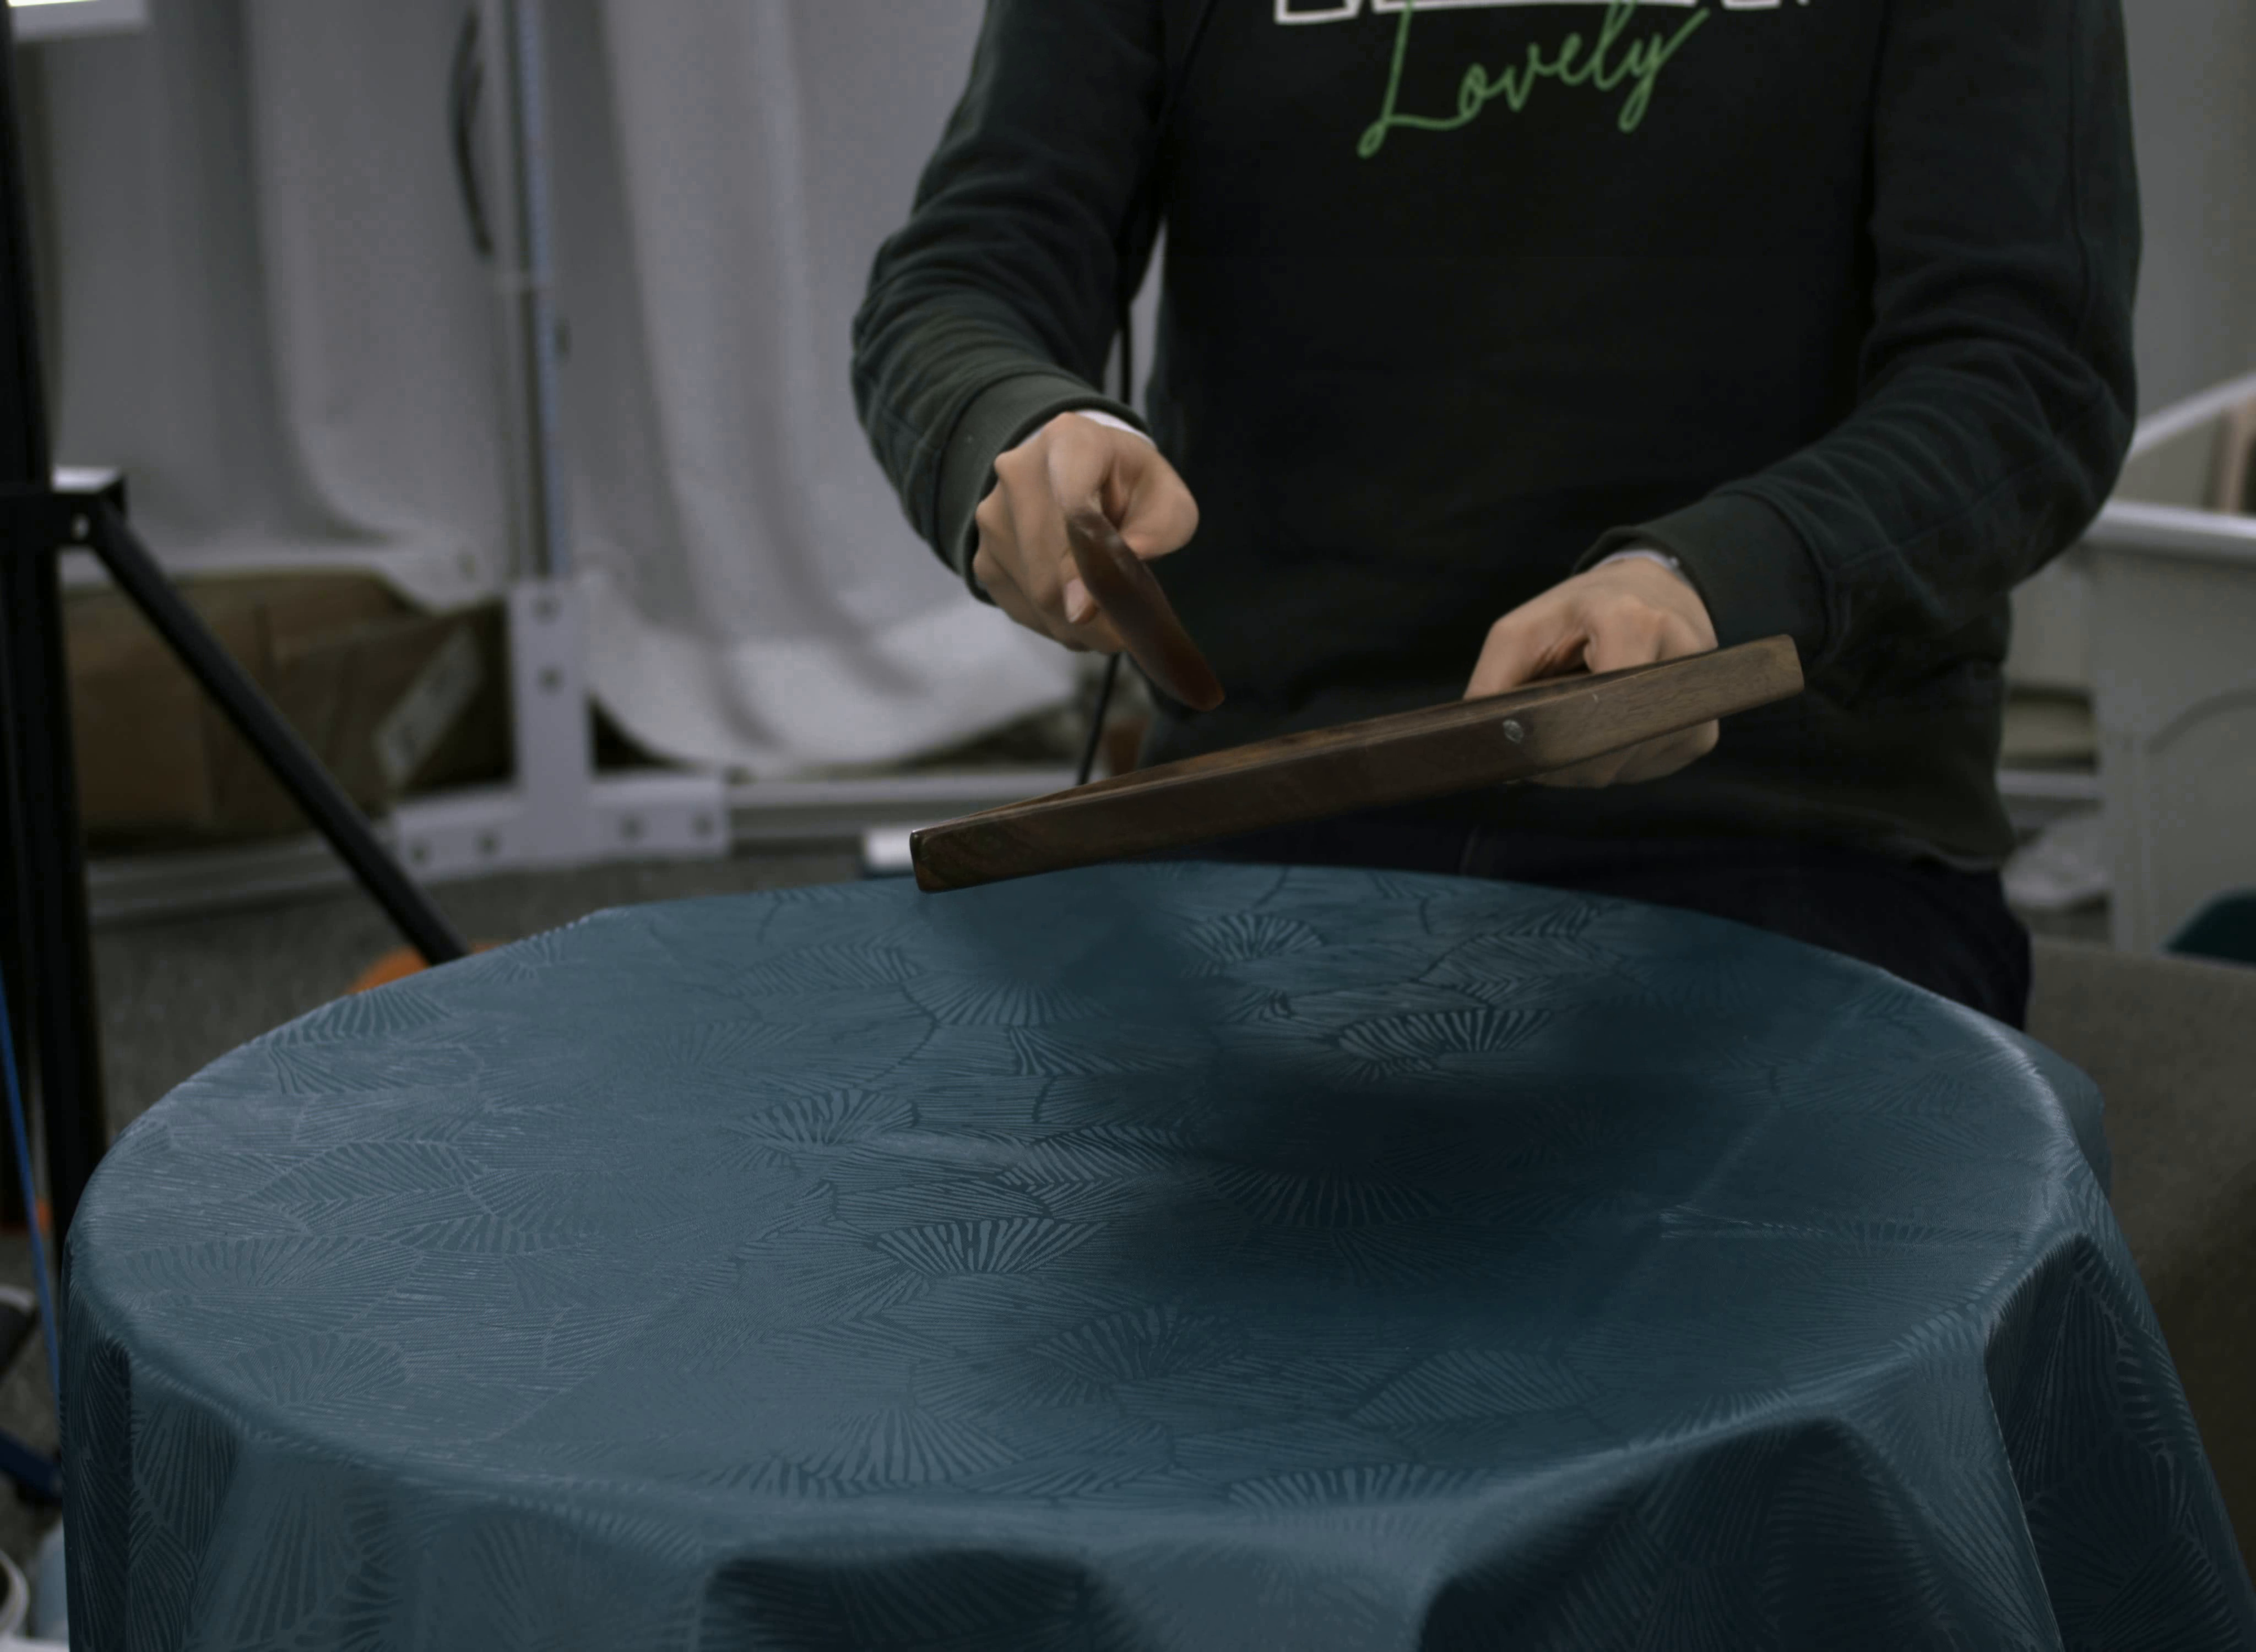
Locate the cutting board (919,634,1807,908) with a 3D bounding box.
[{"bbox_3d":[0.092,-0.022,1.587,0.203,0.023,0.346,-13,1,24],"label":"cutting board"}]

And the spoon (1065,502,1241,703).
[{"bbox_3d":[-0.001,-0.071,1.635,0.017,0.075,0.217,-39,8,0],"label":"spoon"}]
